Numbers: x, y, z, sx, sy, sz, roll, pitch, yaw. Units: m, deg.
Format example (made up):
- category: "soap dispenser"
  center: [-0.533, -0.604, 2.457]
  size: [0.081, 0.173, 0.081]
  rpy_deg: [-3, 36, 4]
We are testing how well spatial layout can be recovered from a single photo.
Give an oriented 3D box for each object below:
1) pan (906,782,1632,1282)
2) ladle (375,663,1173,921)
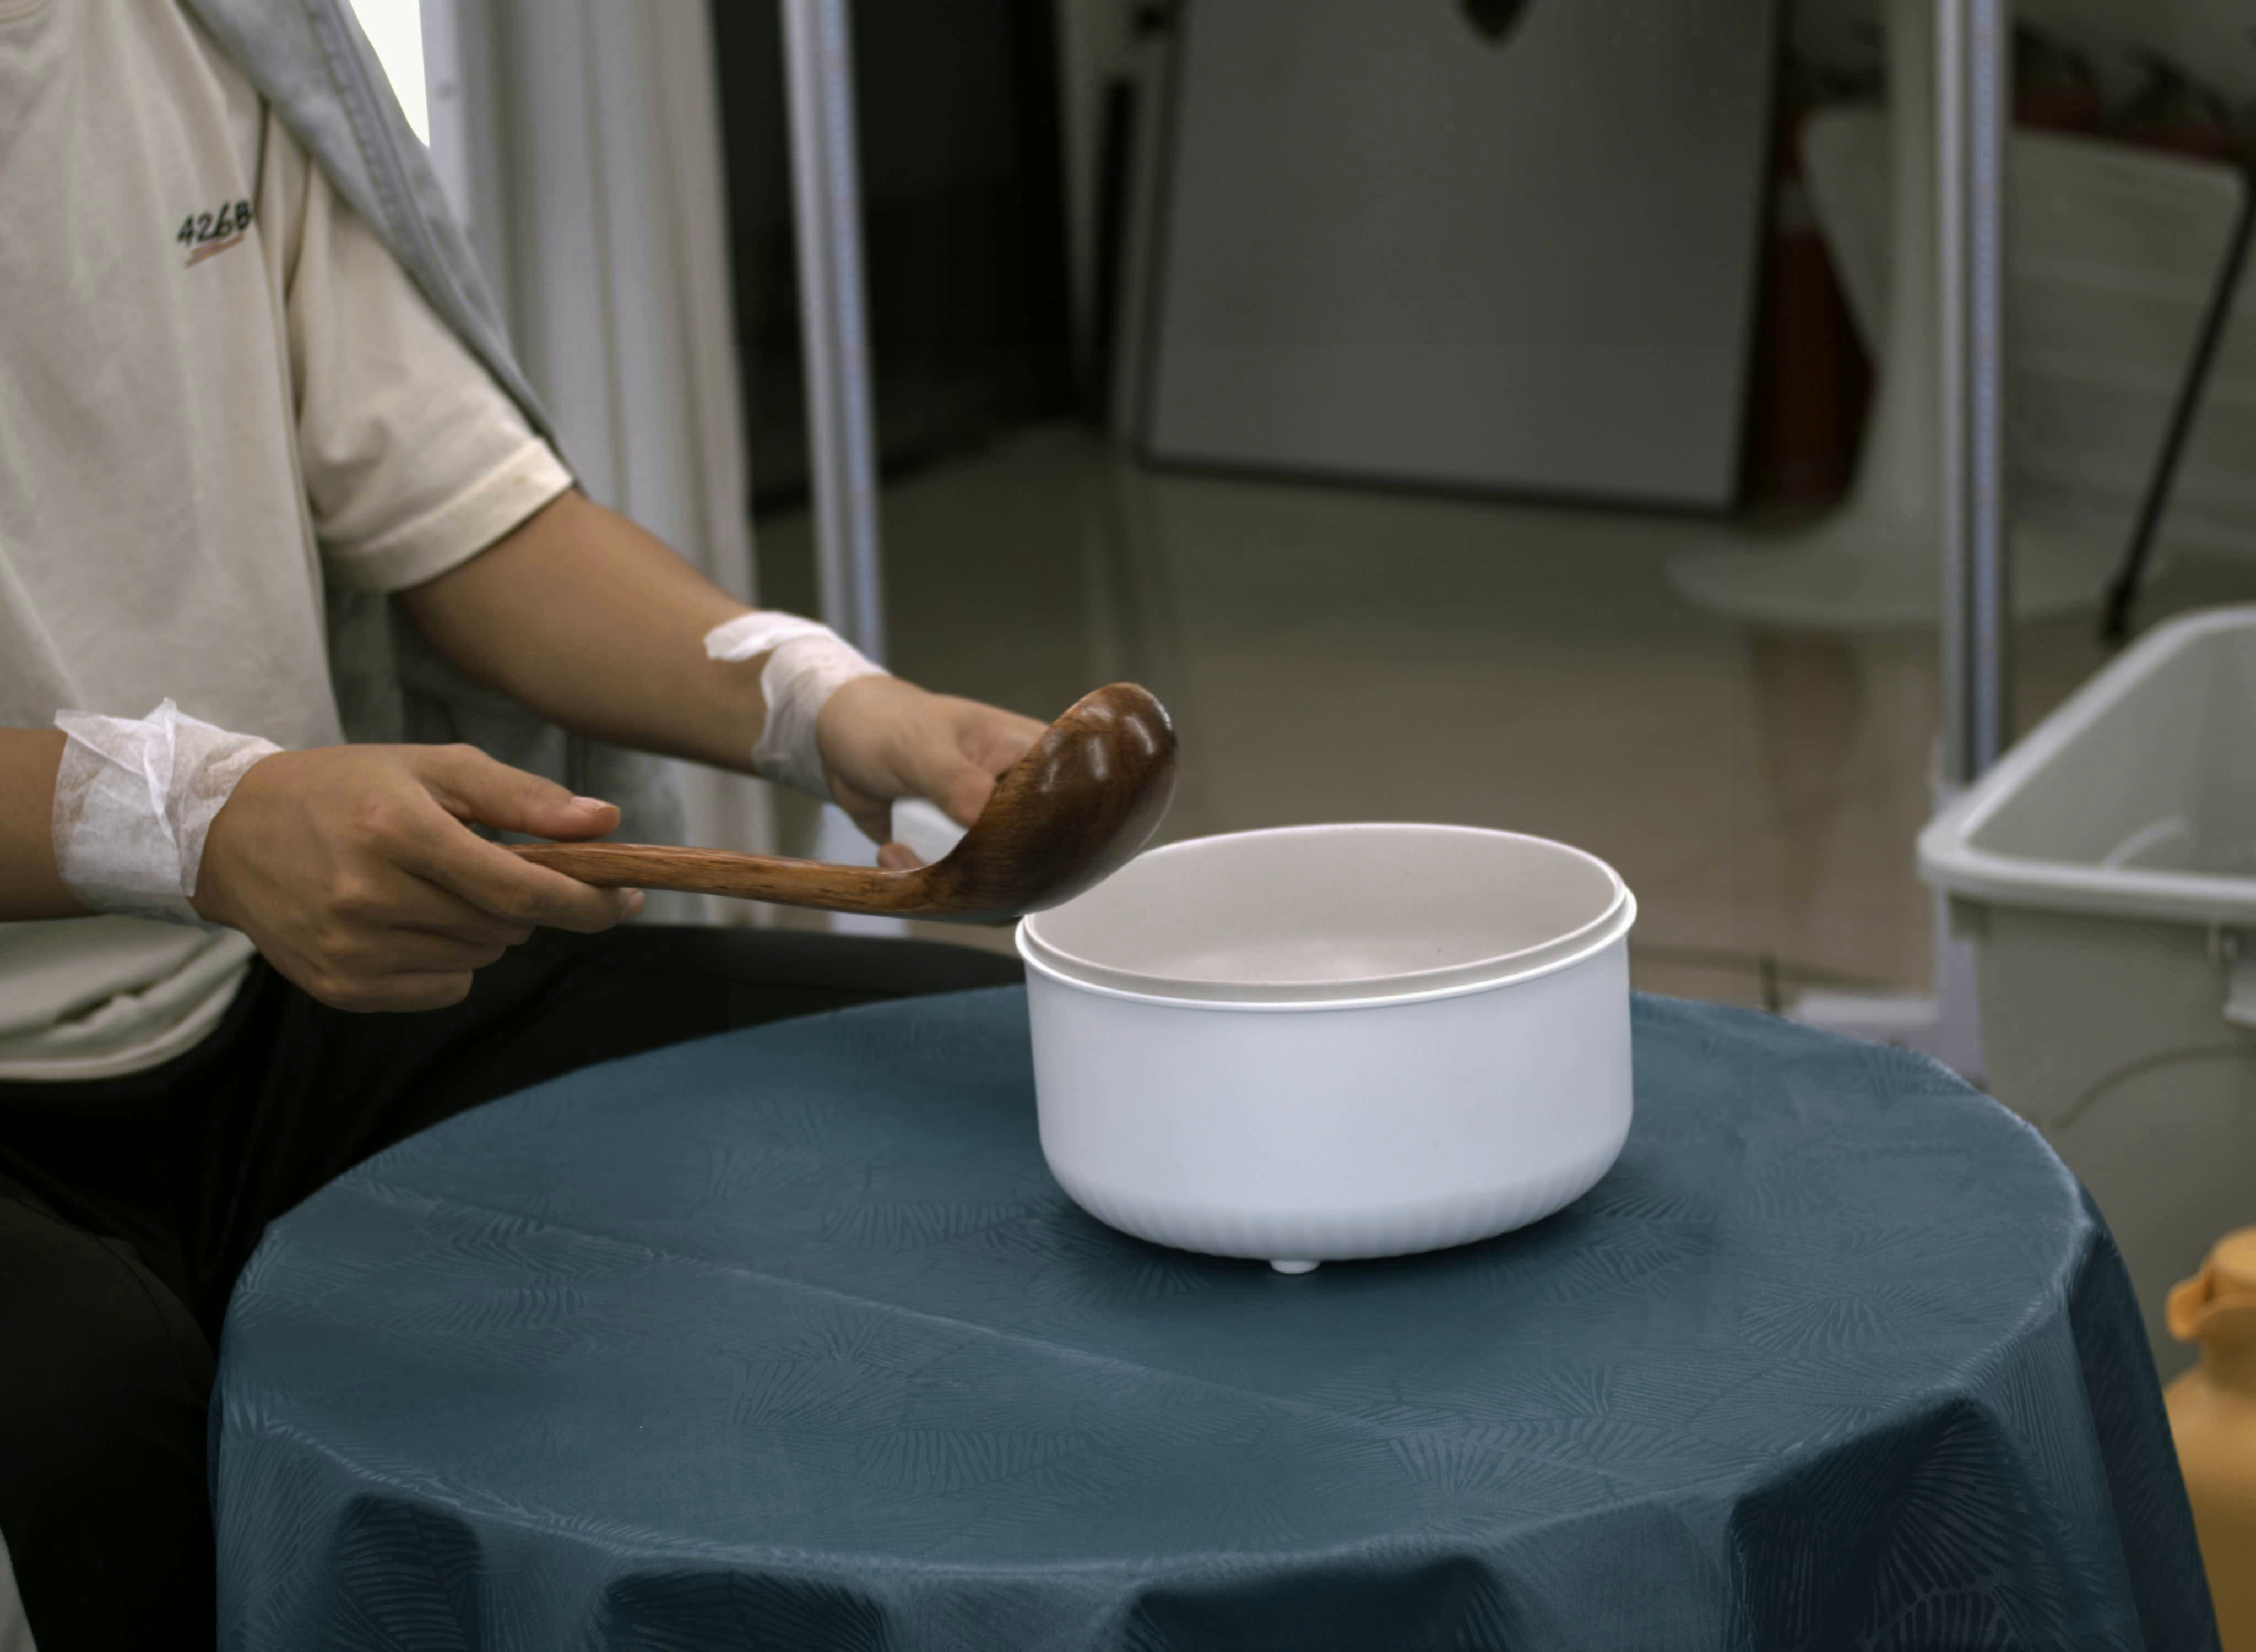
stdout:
- category: "pan"
  center: [0.026, 0.061, 1.807]
  size: [0.197, 0.103, 0.358]
  rpy_deg: [-13, 15, -28]
- category: "ladle"
  center: [-0.113, -0.013, 1.652]
  size: [0.275, 0.077, 0.080]
  rpy_deg: [2, -8, 29]
